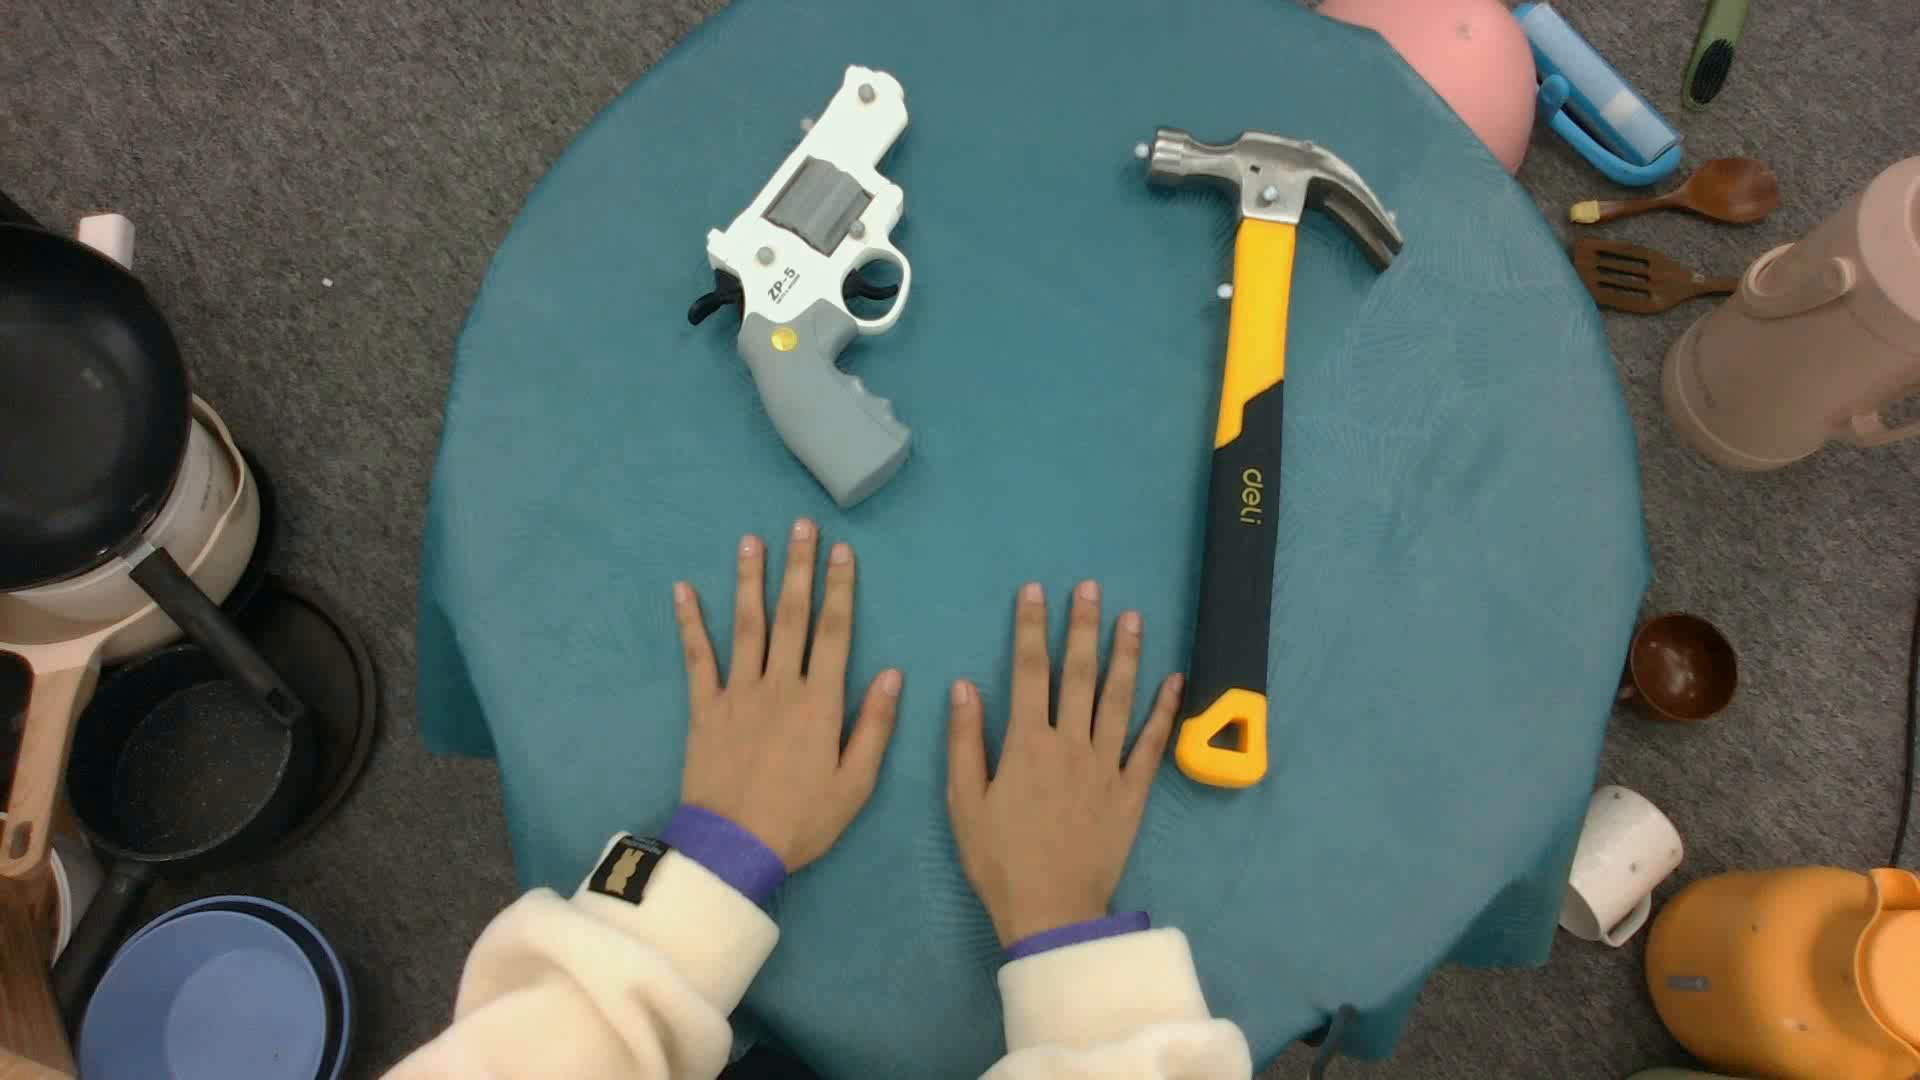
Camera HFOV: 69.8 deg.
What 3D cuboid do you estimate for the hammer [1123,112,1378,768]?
[{"bbox_3d":[0.135,-0.057,0.677,0.131,0.032,0.339,8,71,-3],"label":"hammer"}]

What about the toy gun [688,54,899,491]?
[{"bbox_3d":[-0.062,-0.140,0.690,0.141,0.038,0.209,29,73,6],"label":"toy gun"}]
